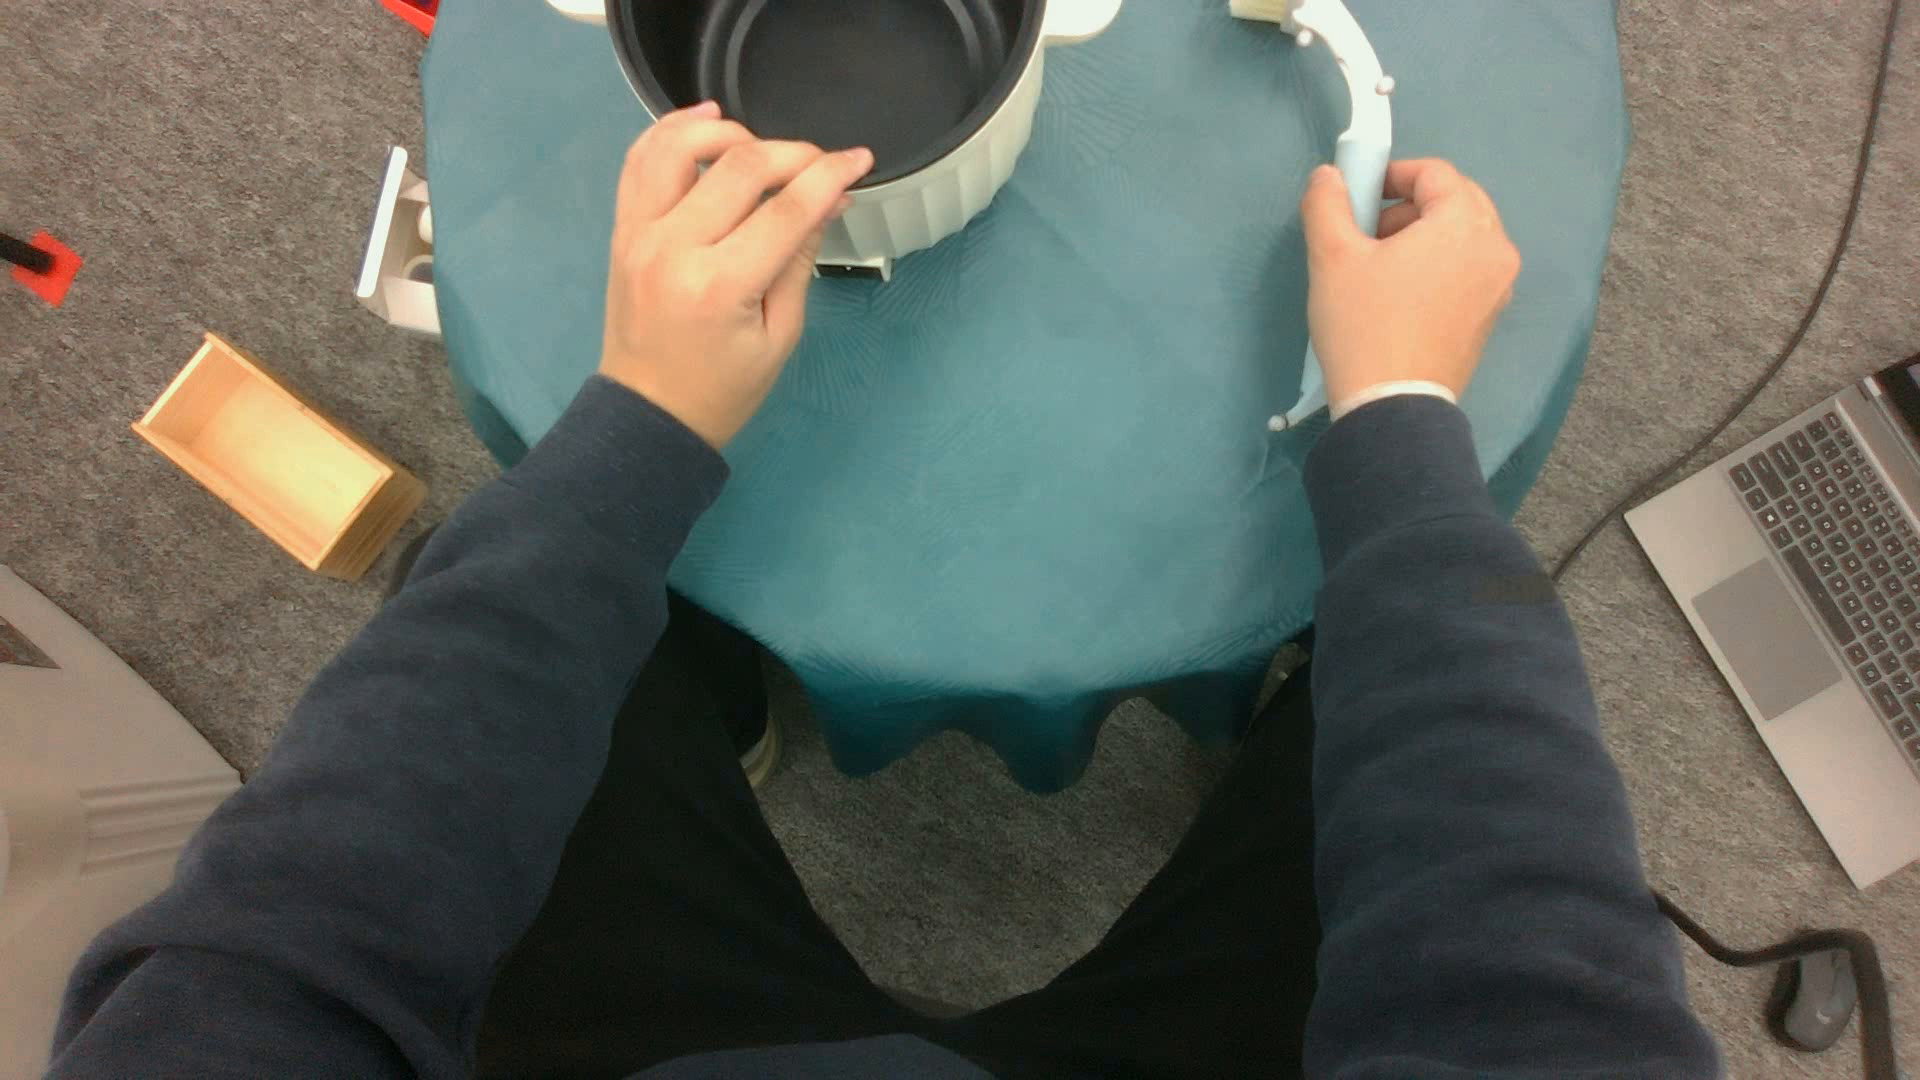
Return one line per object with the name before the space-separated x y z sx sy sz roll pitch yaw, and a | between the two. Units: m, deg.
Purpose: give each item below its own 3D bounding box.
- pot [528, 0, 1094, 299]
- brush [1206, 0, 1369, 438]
pot | -0.061 -0.219 0.641 0.240 0.142 0.190 0 86 2
brush | 0.145 -0.212 0.662 0.084 0.083 0.325 2 85 43
